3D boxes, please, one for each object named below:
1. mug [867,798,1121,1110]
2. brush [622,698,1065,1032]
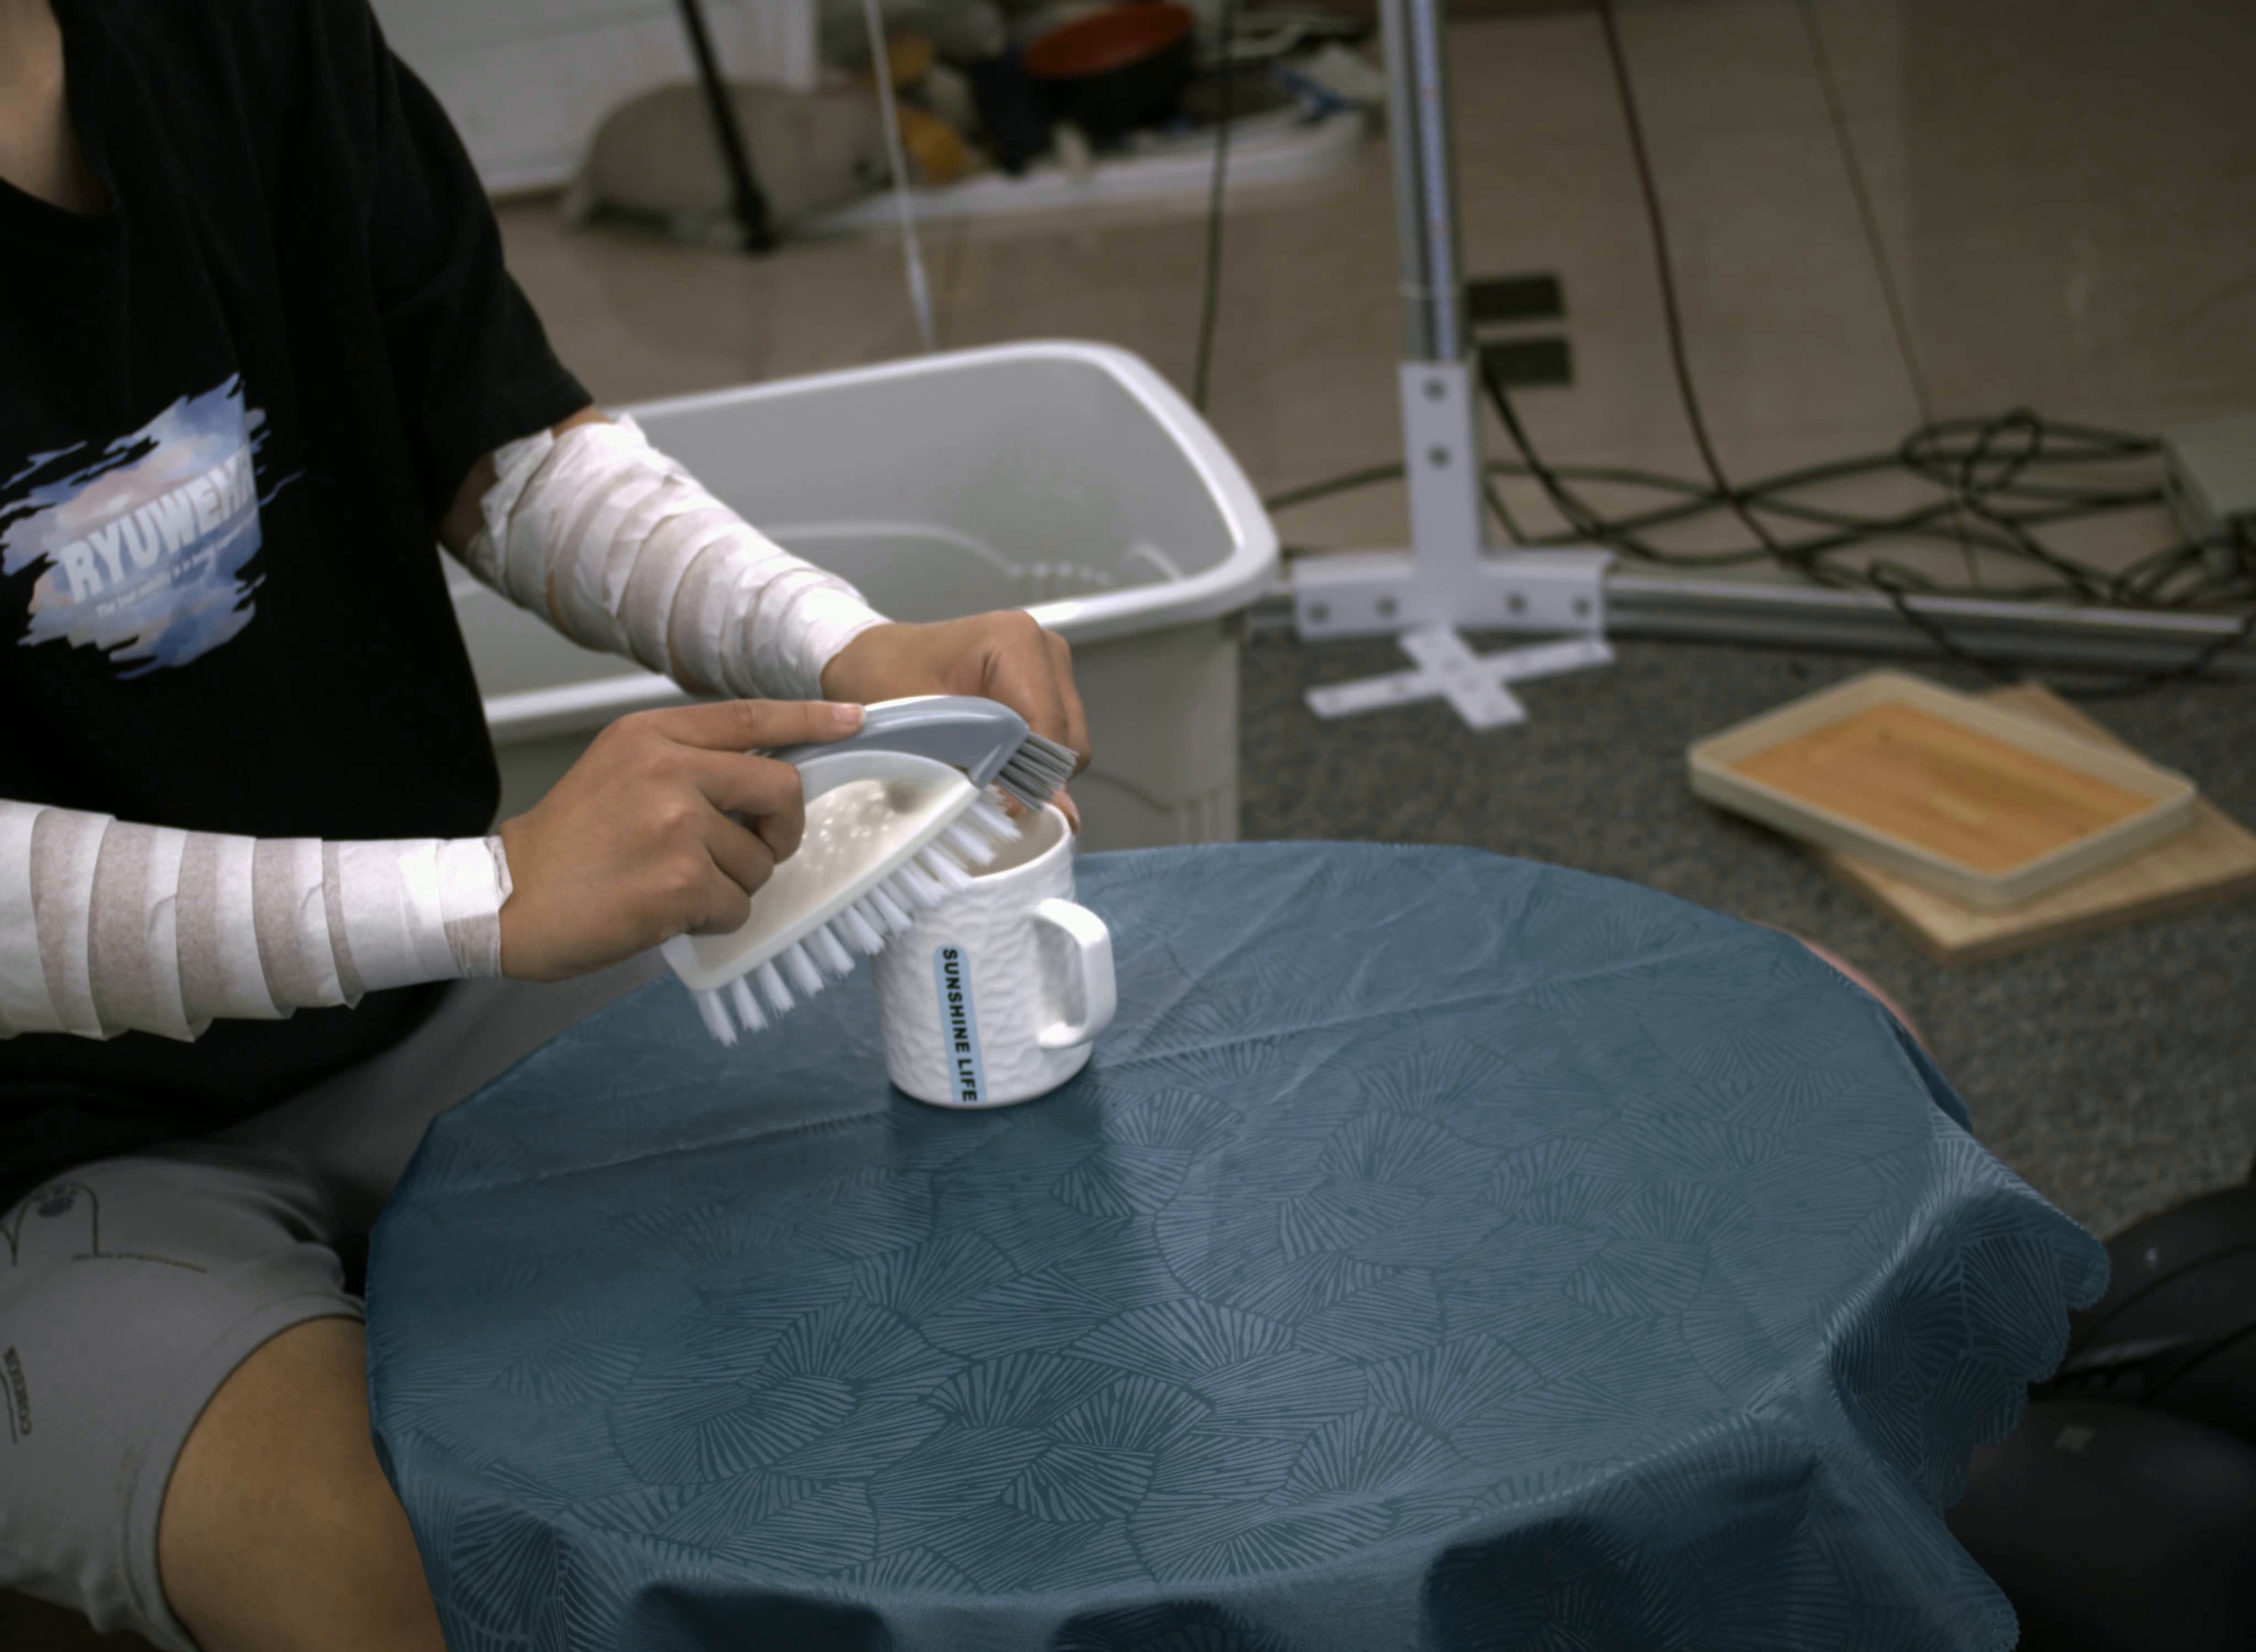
[{"bbox_3d":[-0.048,0.053,2.222,0.117,0.103,0.084,18,35,40],"label":"mug"},{"bbox_3d":[-0.113,-0.003,2.170,0.175,0.096,0.060,-31,46,2],"label":"brush"}]
